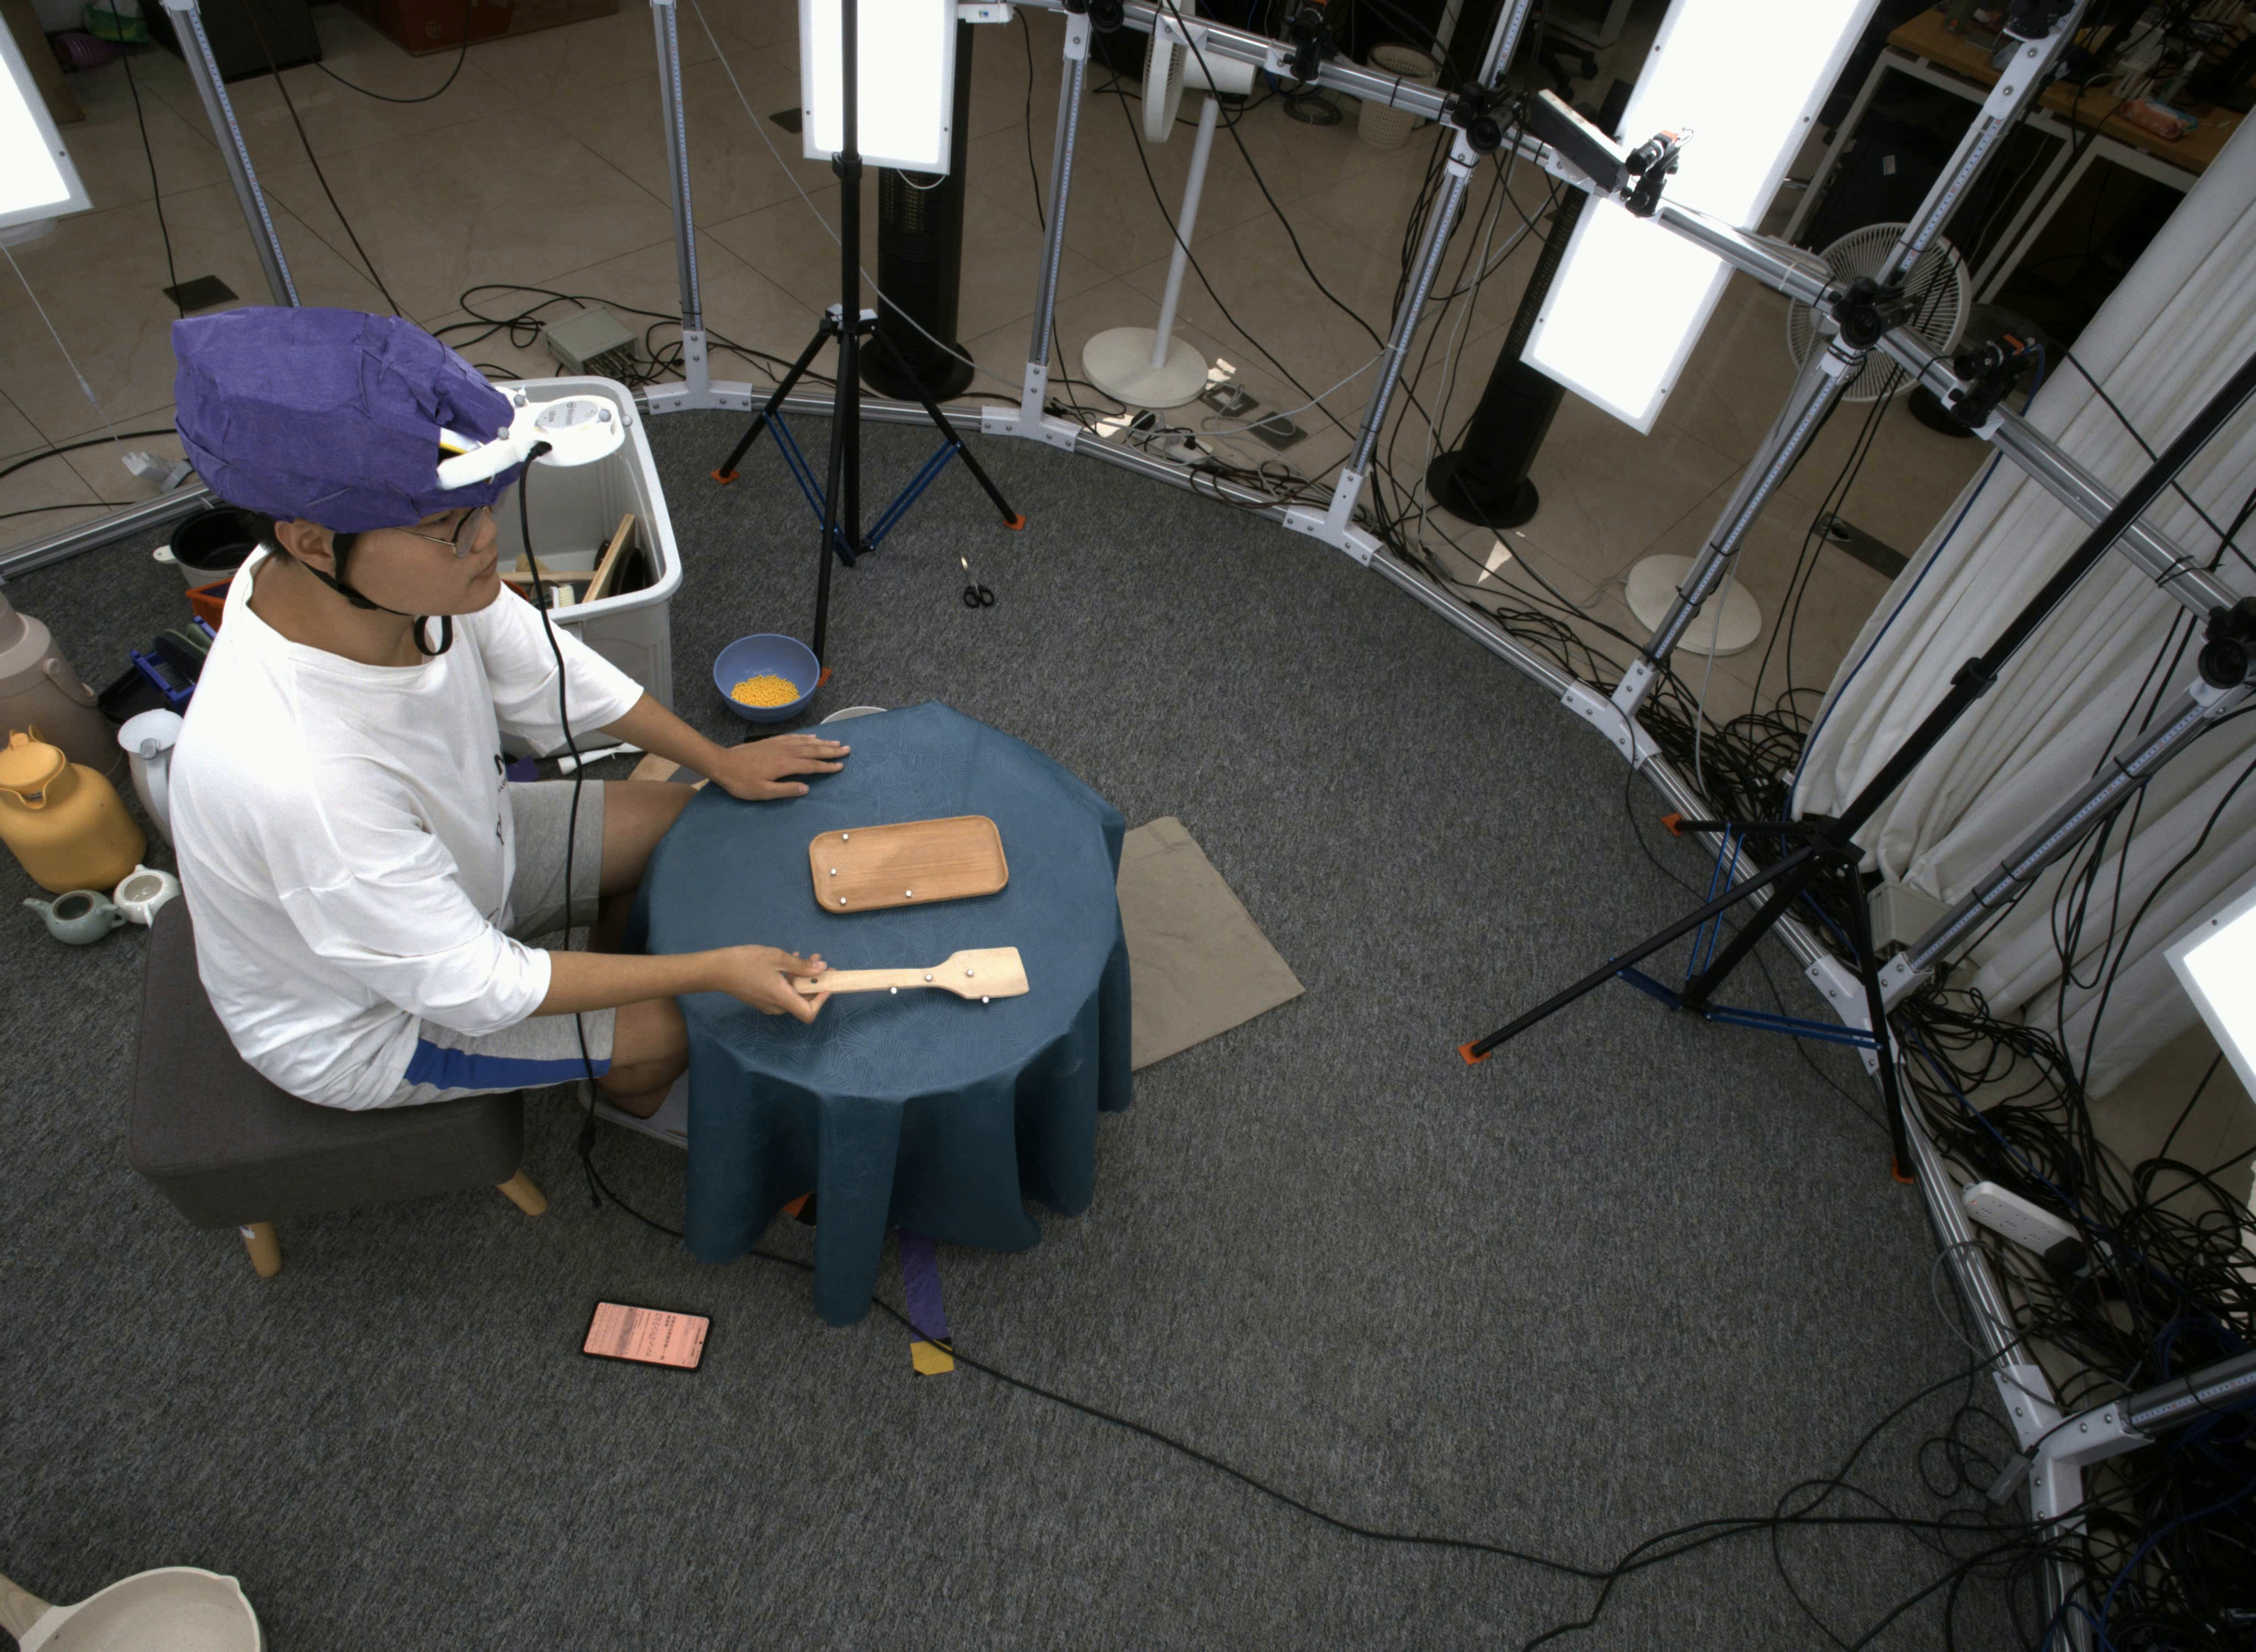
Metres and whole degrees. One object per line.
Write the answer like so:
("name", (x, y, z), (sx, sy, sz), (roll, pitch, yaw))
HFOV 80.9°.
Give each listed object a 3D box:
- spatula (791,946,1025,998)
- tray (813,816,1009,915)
("spatula", (-0.267, 0.185, 1.595), (0.297, 0.011, 0.070), (-1, 54, -30))
("tray", (-0.286, 0.051, 1.720), (0.251, 0.023, 0.128), (-5, 58, -17))
